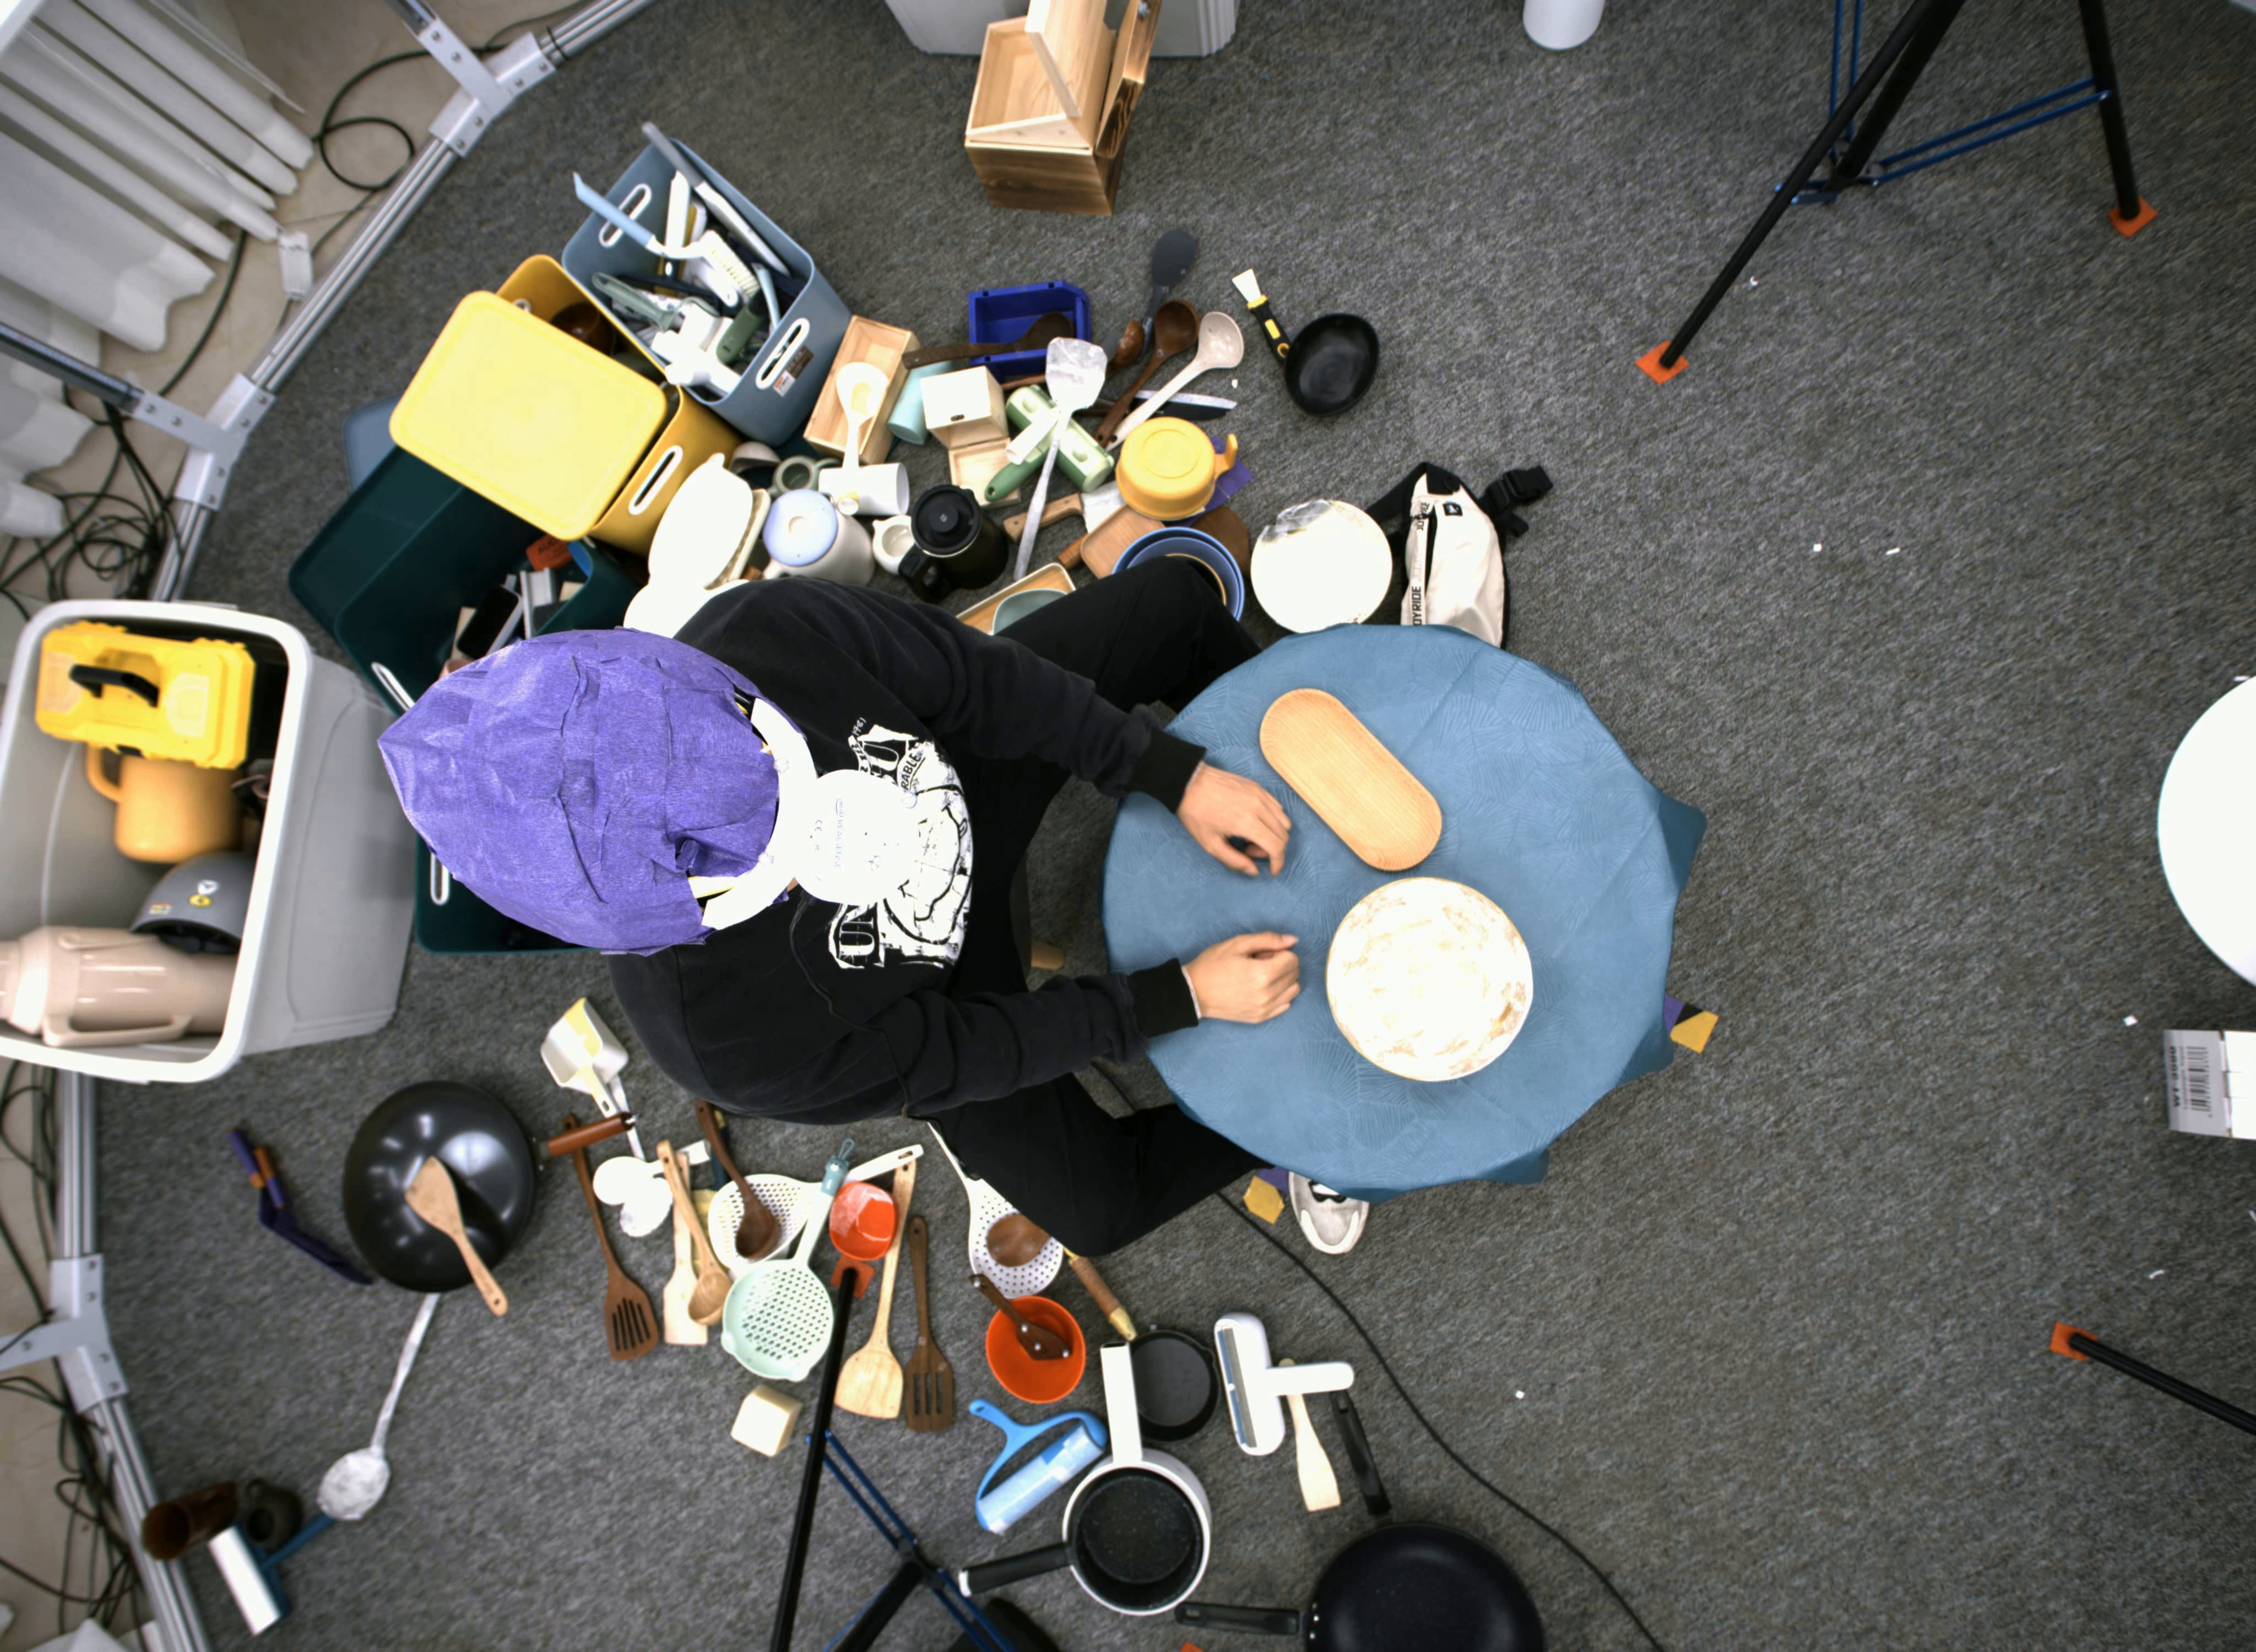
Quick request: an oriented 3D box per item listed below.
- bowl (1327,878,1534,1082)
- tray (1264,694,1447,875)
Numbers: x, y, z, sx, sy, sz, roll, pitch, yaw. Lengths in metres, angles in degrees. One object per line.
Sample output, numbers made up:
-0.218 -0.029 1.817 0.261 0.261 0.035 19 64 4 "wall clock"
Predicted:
0.303 0.151 1.406 0.215 0.094 0.214 -1 87 11 "bowl"
0.242 -0.046 1.471 0.102 0.020 0.230 -45 82 7 "tray"
